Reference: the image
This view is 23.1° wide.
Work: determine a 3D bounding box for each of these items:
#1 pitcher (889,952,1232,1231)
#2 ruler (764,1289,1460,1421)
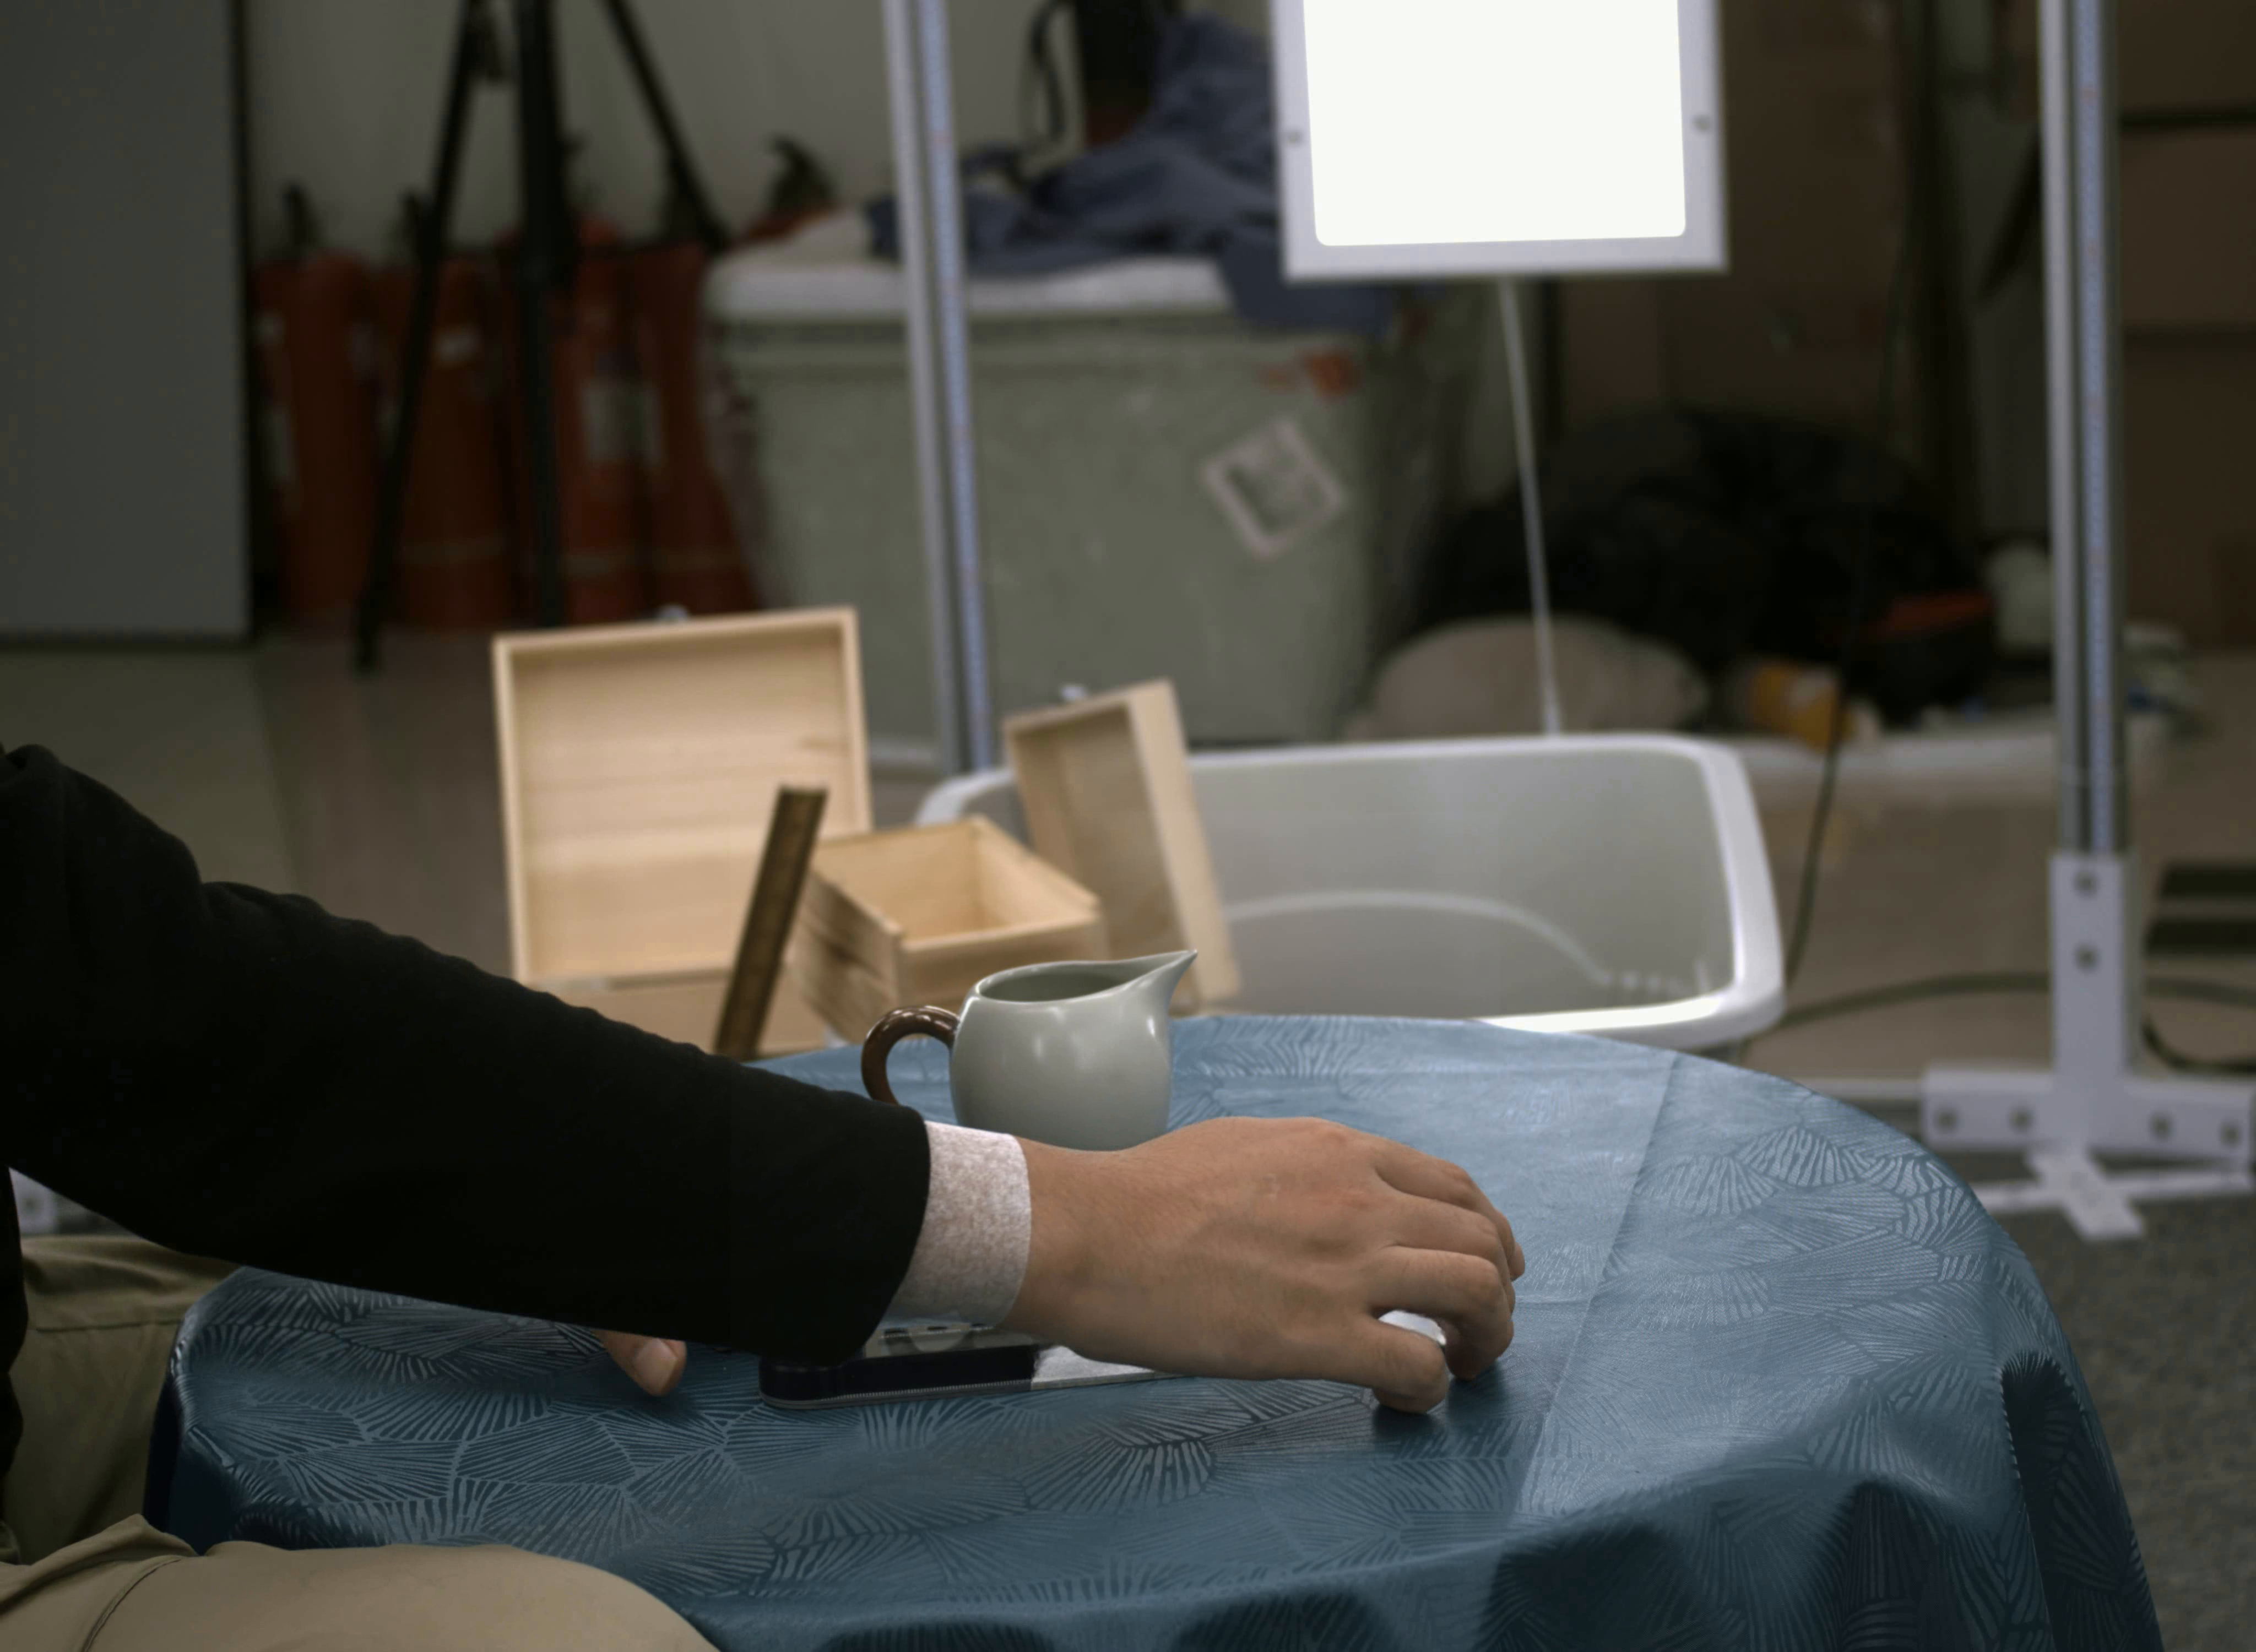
[{"bbox_3d":[-0.021,0.090,1.870,0.118,0.088,0.076,-4,10,-2],"label":"pitcher"},{"bbox_3d":[-0.006,0.158,1.723,0.217,0.024,0.038,-7,21,1],"label":"ruler"}]
